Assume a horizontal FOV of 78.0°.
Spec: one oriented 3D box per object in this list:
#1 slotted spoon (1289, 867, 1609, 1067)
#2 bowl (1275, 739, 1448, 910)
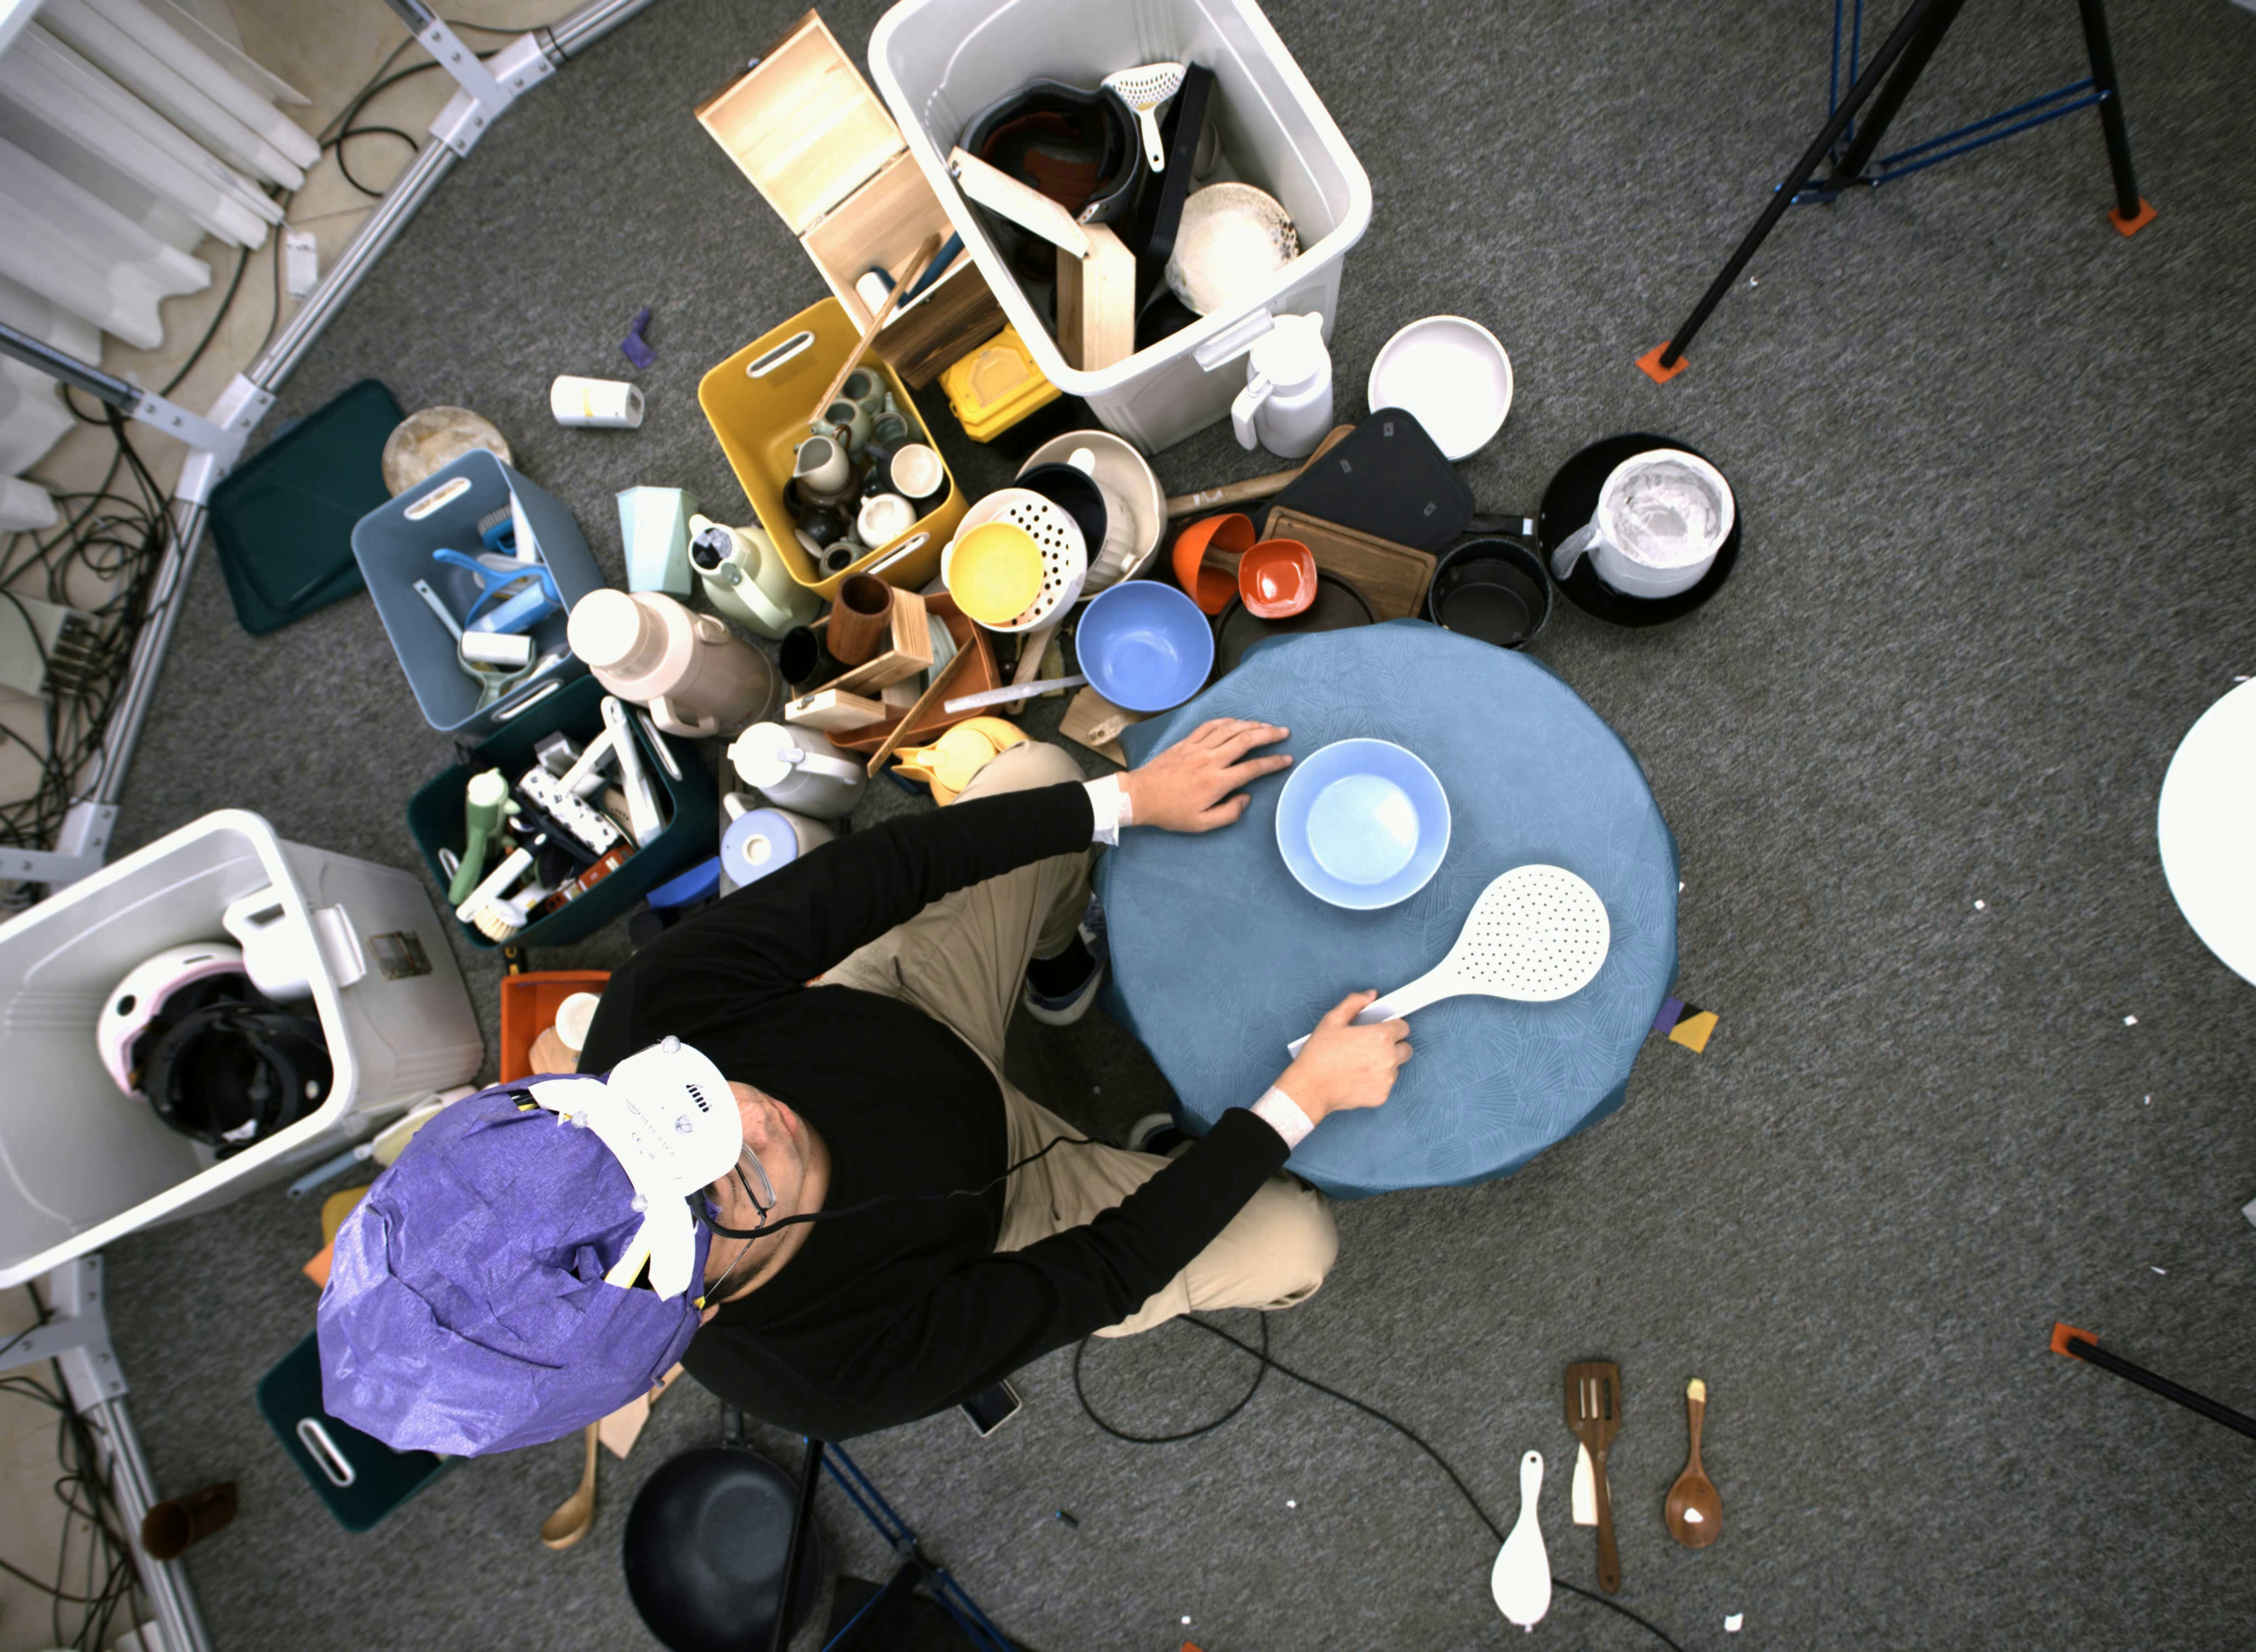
[{"bbox_3d":[0.325,0.159,1.419,0.352,0.045,0.135,-29,84,7],"label":"slotted spoon"},{"bbox_3d":[0.242,0.000,1.434,0.177,0.070,0.175,-1,87,11],"label":"bowl"}]
